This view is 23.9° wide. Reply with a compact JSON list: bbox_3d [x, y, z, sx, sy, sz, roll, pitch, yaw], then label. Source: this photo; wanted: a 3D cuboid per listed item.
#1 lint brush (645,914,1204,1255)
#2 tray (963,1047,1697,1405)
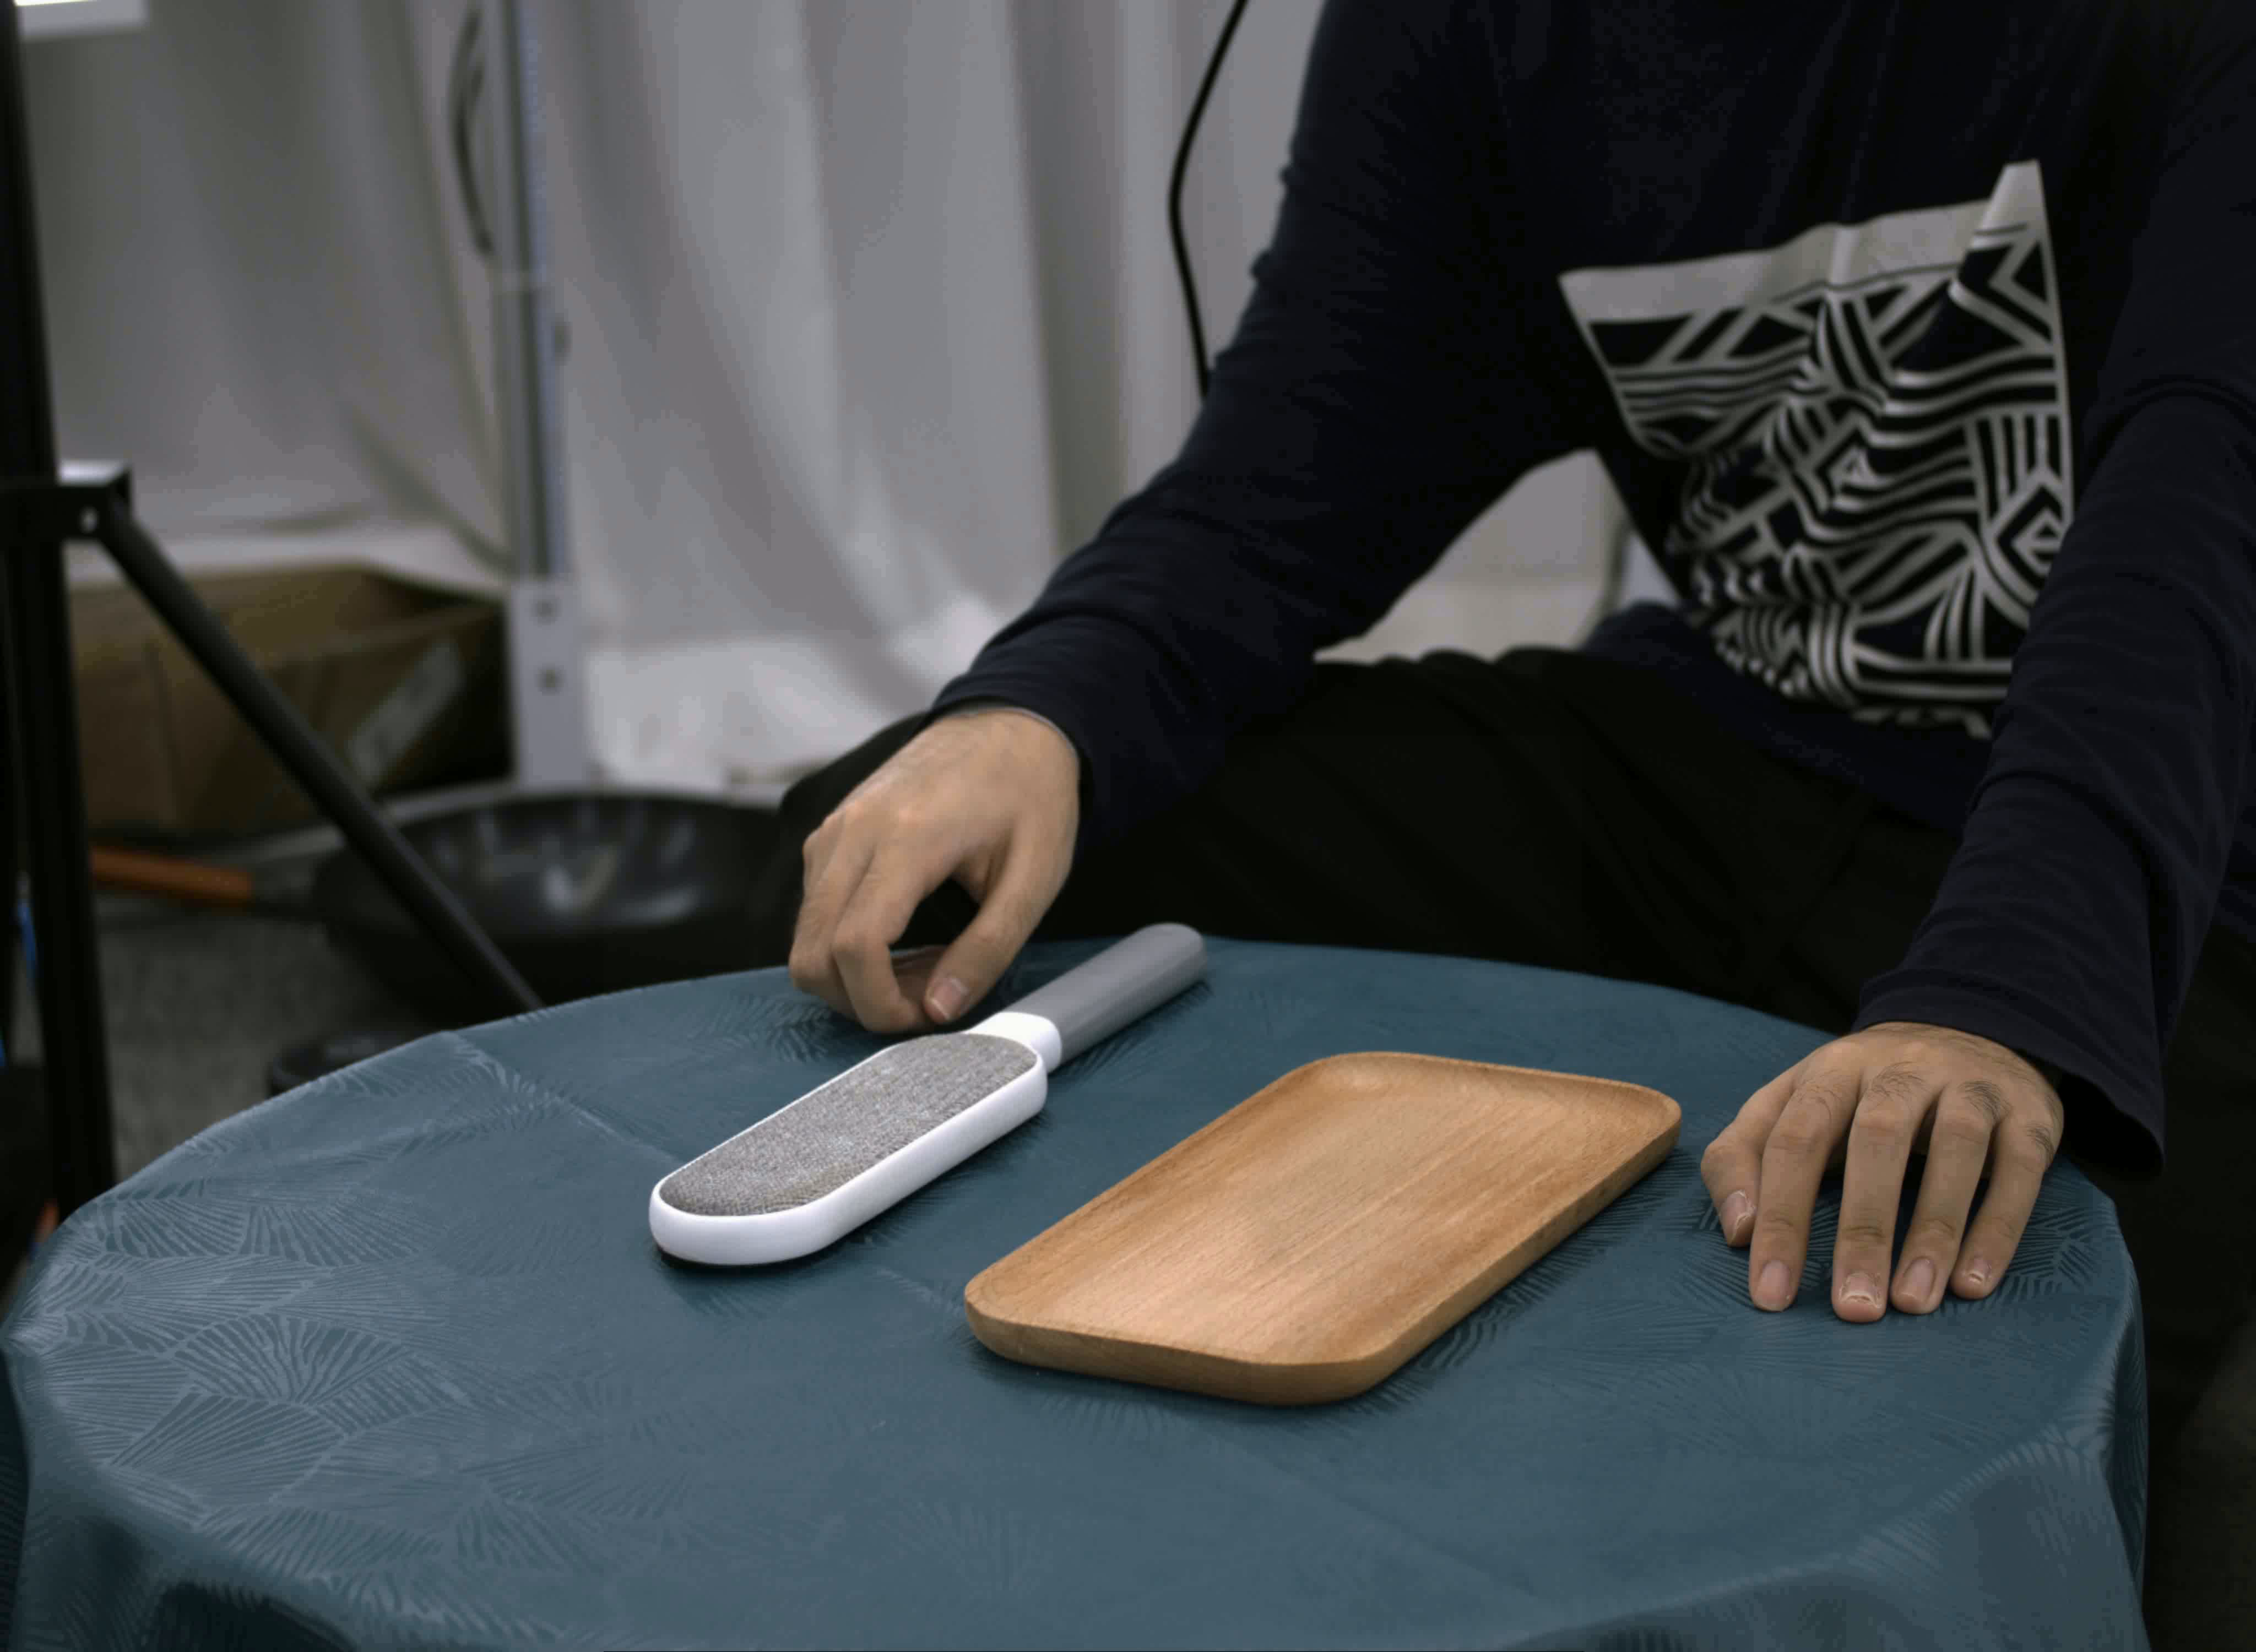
[{"bbox_3d":[-0.052,0.076,1.633,0.061,0.021,0.304,1,15,29],"label":"lint brush"},{"bbox_3d":[0.062,0.111,1.510,0.133,0.023,0.246,9,19,30],"label":"tray"}]
